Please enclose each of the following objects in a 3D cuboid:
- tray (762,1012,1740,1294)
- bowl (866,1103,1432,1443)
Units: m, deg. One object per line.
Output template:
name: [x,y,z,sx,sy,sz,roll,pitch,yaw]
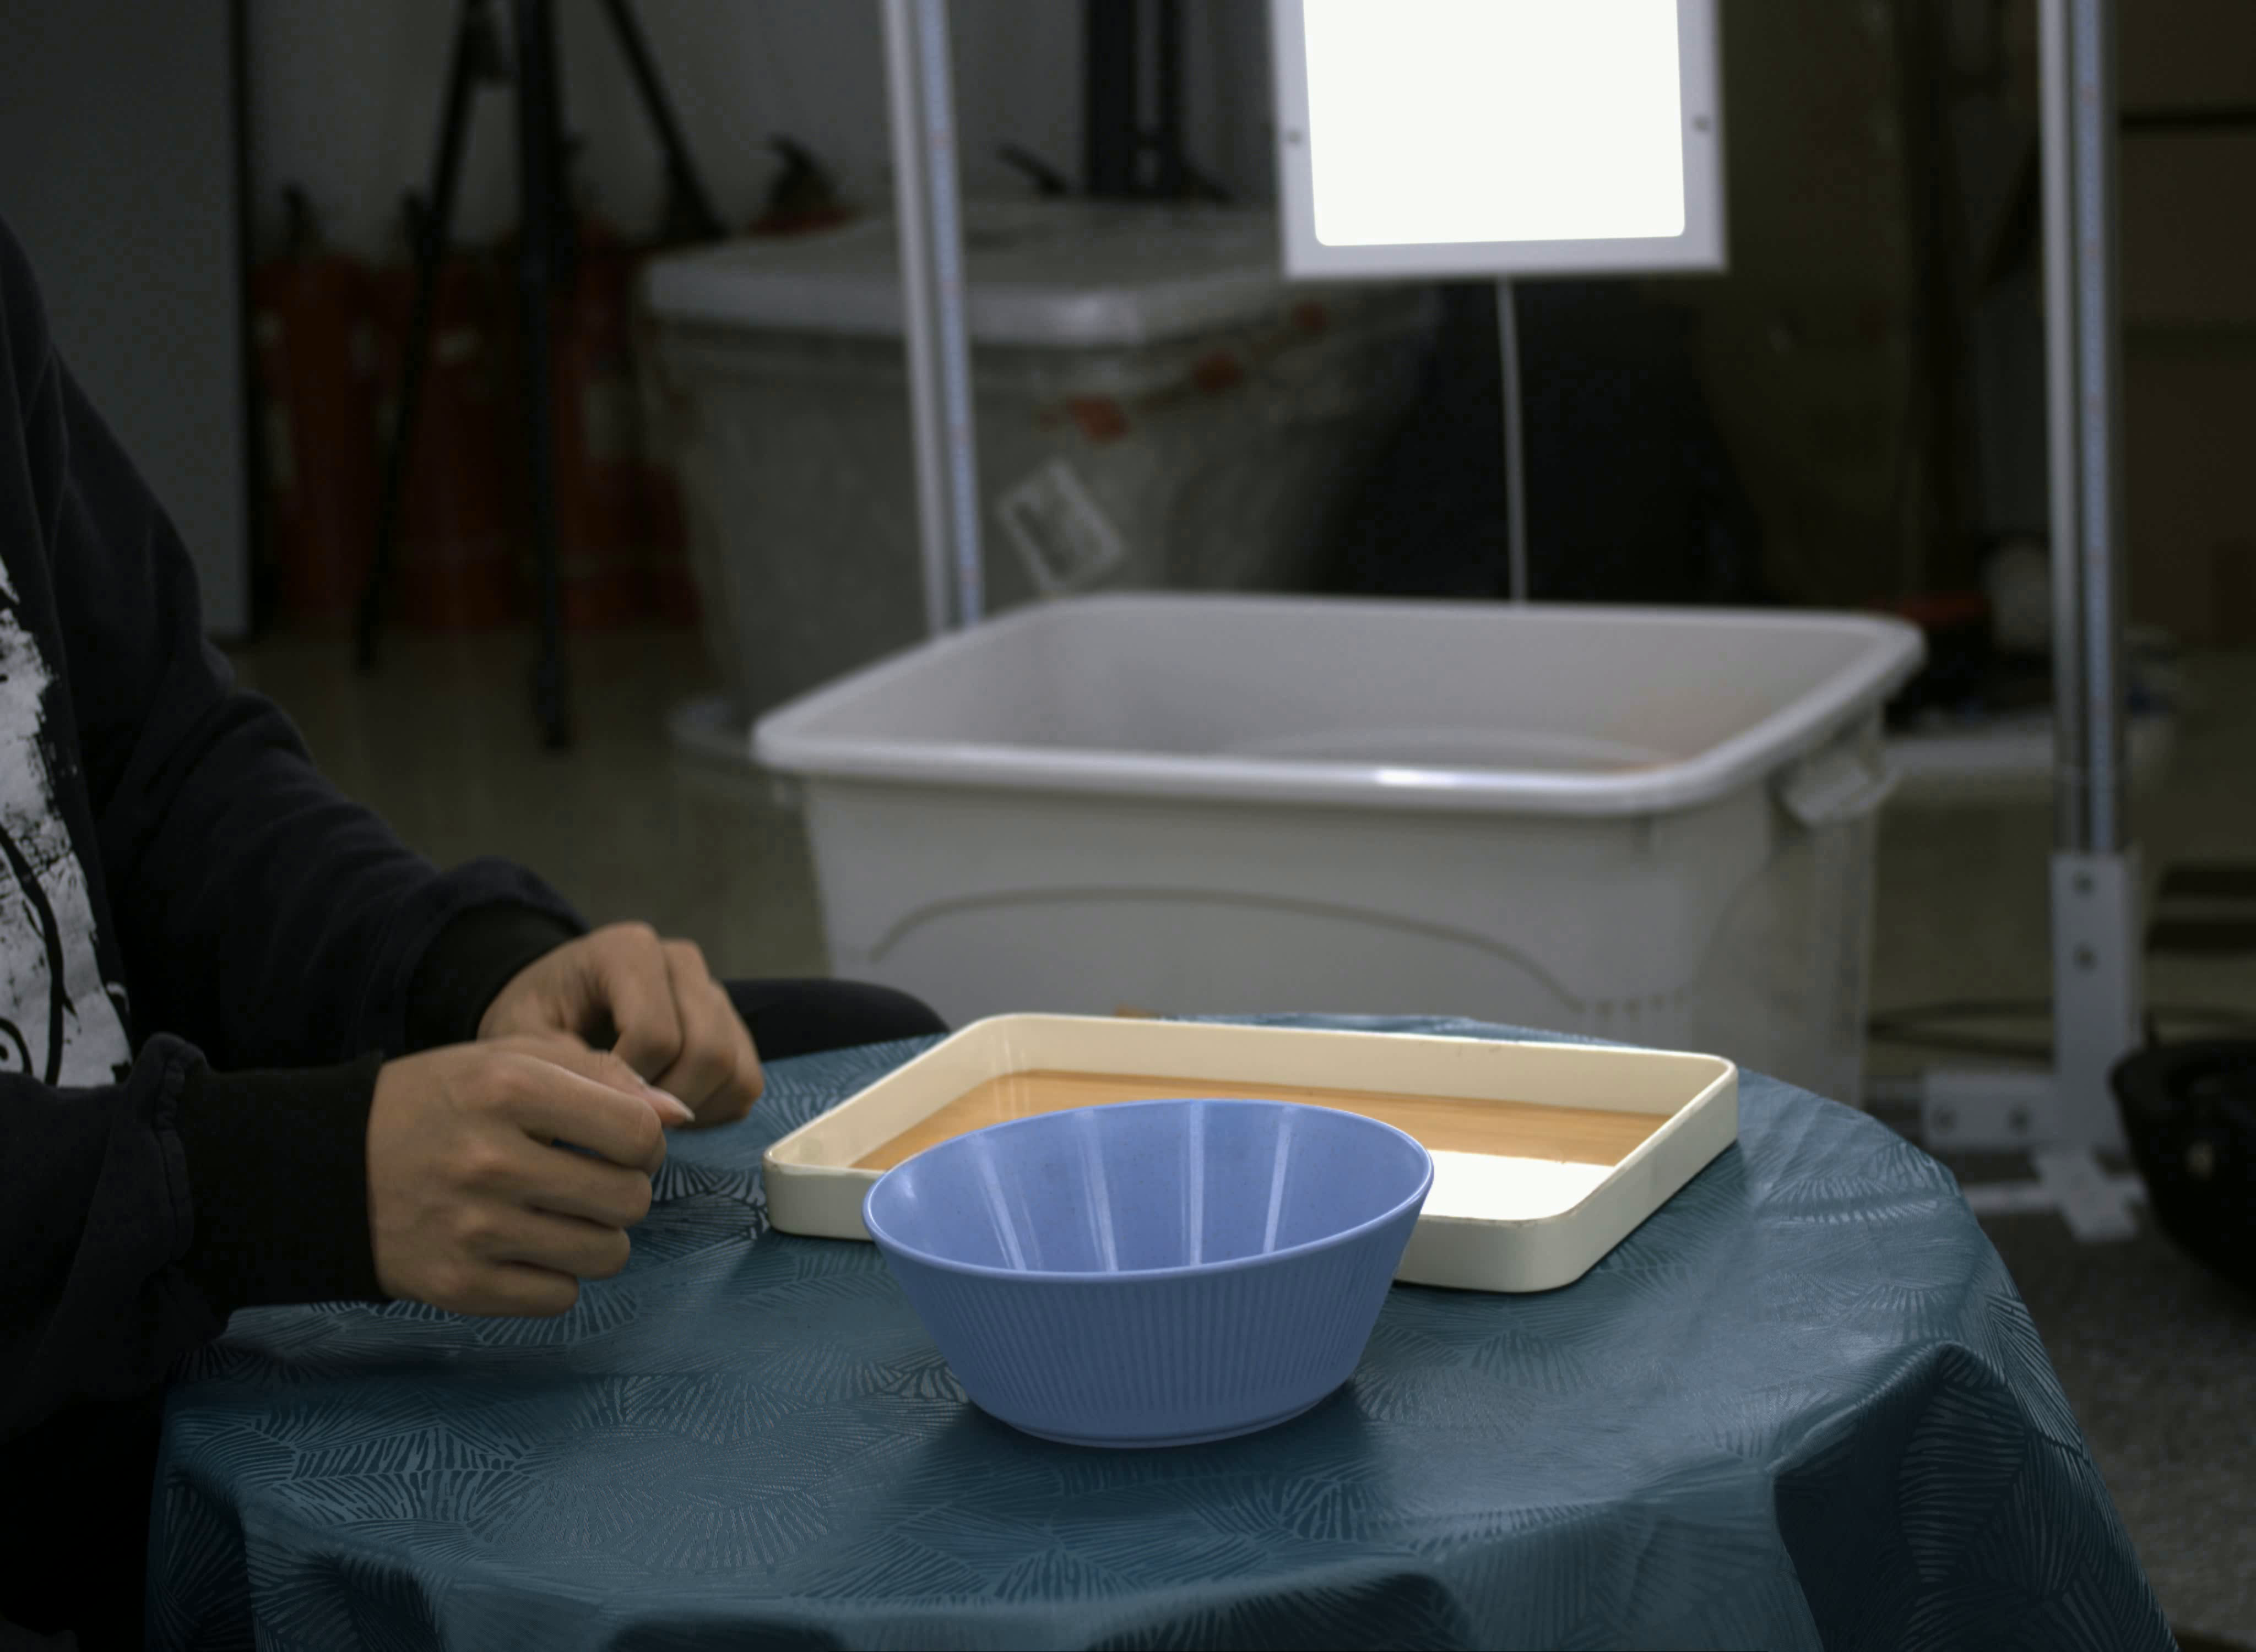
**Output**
tray: [0.044,0.110,1.895,0.305,0.027,0.187,3,16,28]
bowl: [0.009,0.139,1.690,0.175,0.070,0.176,-4,13,0]
